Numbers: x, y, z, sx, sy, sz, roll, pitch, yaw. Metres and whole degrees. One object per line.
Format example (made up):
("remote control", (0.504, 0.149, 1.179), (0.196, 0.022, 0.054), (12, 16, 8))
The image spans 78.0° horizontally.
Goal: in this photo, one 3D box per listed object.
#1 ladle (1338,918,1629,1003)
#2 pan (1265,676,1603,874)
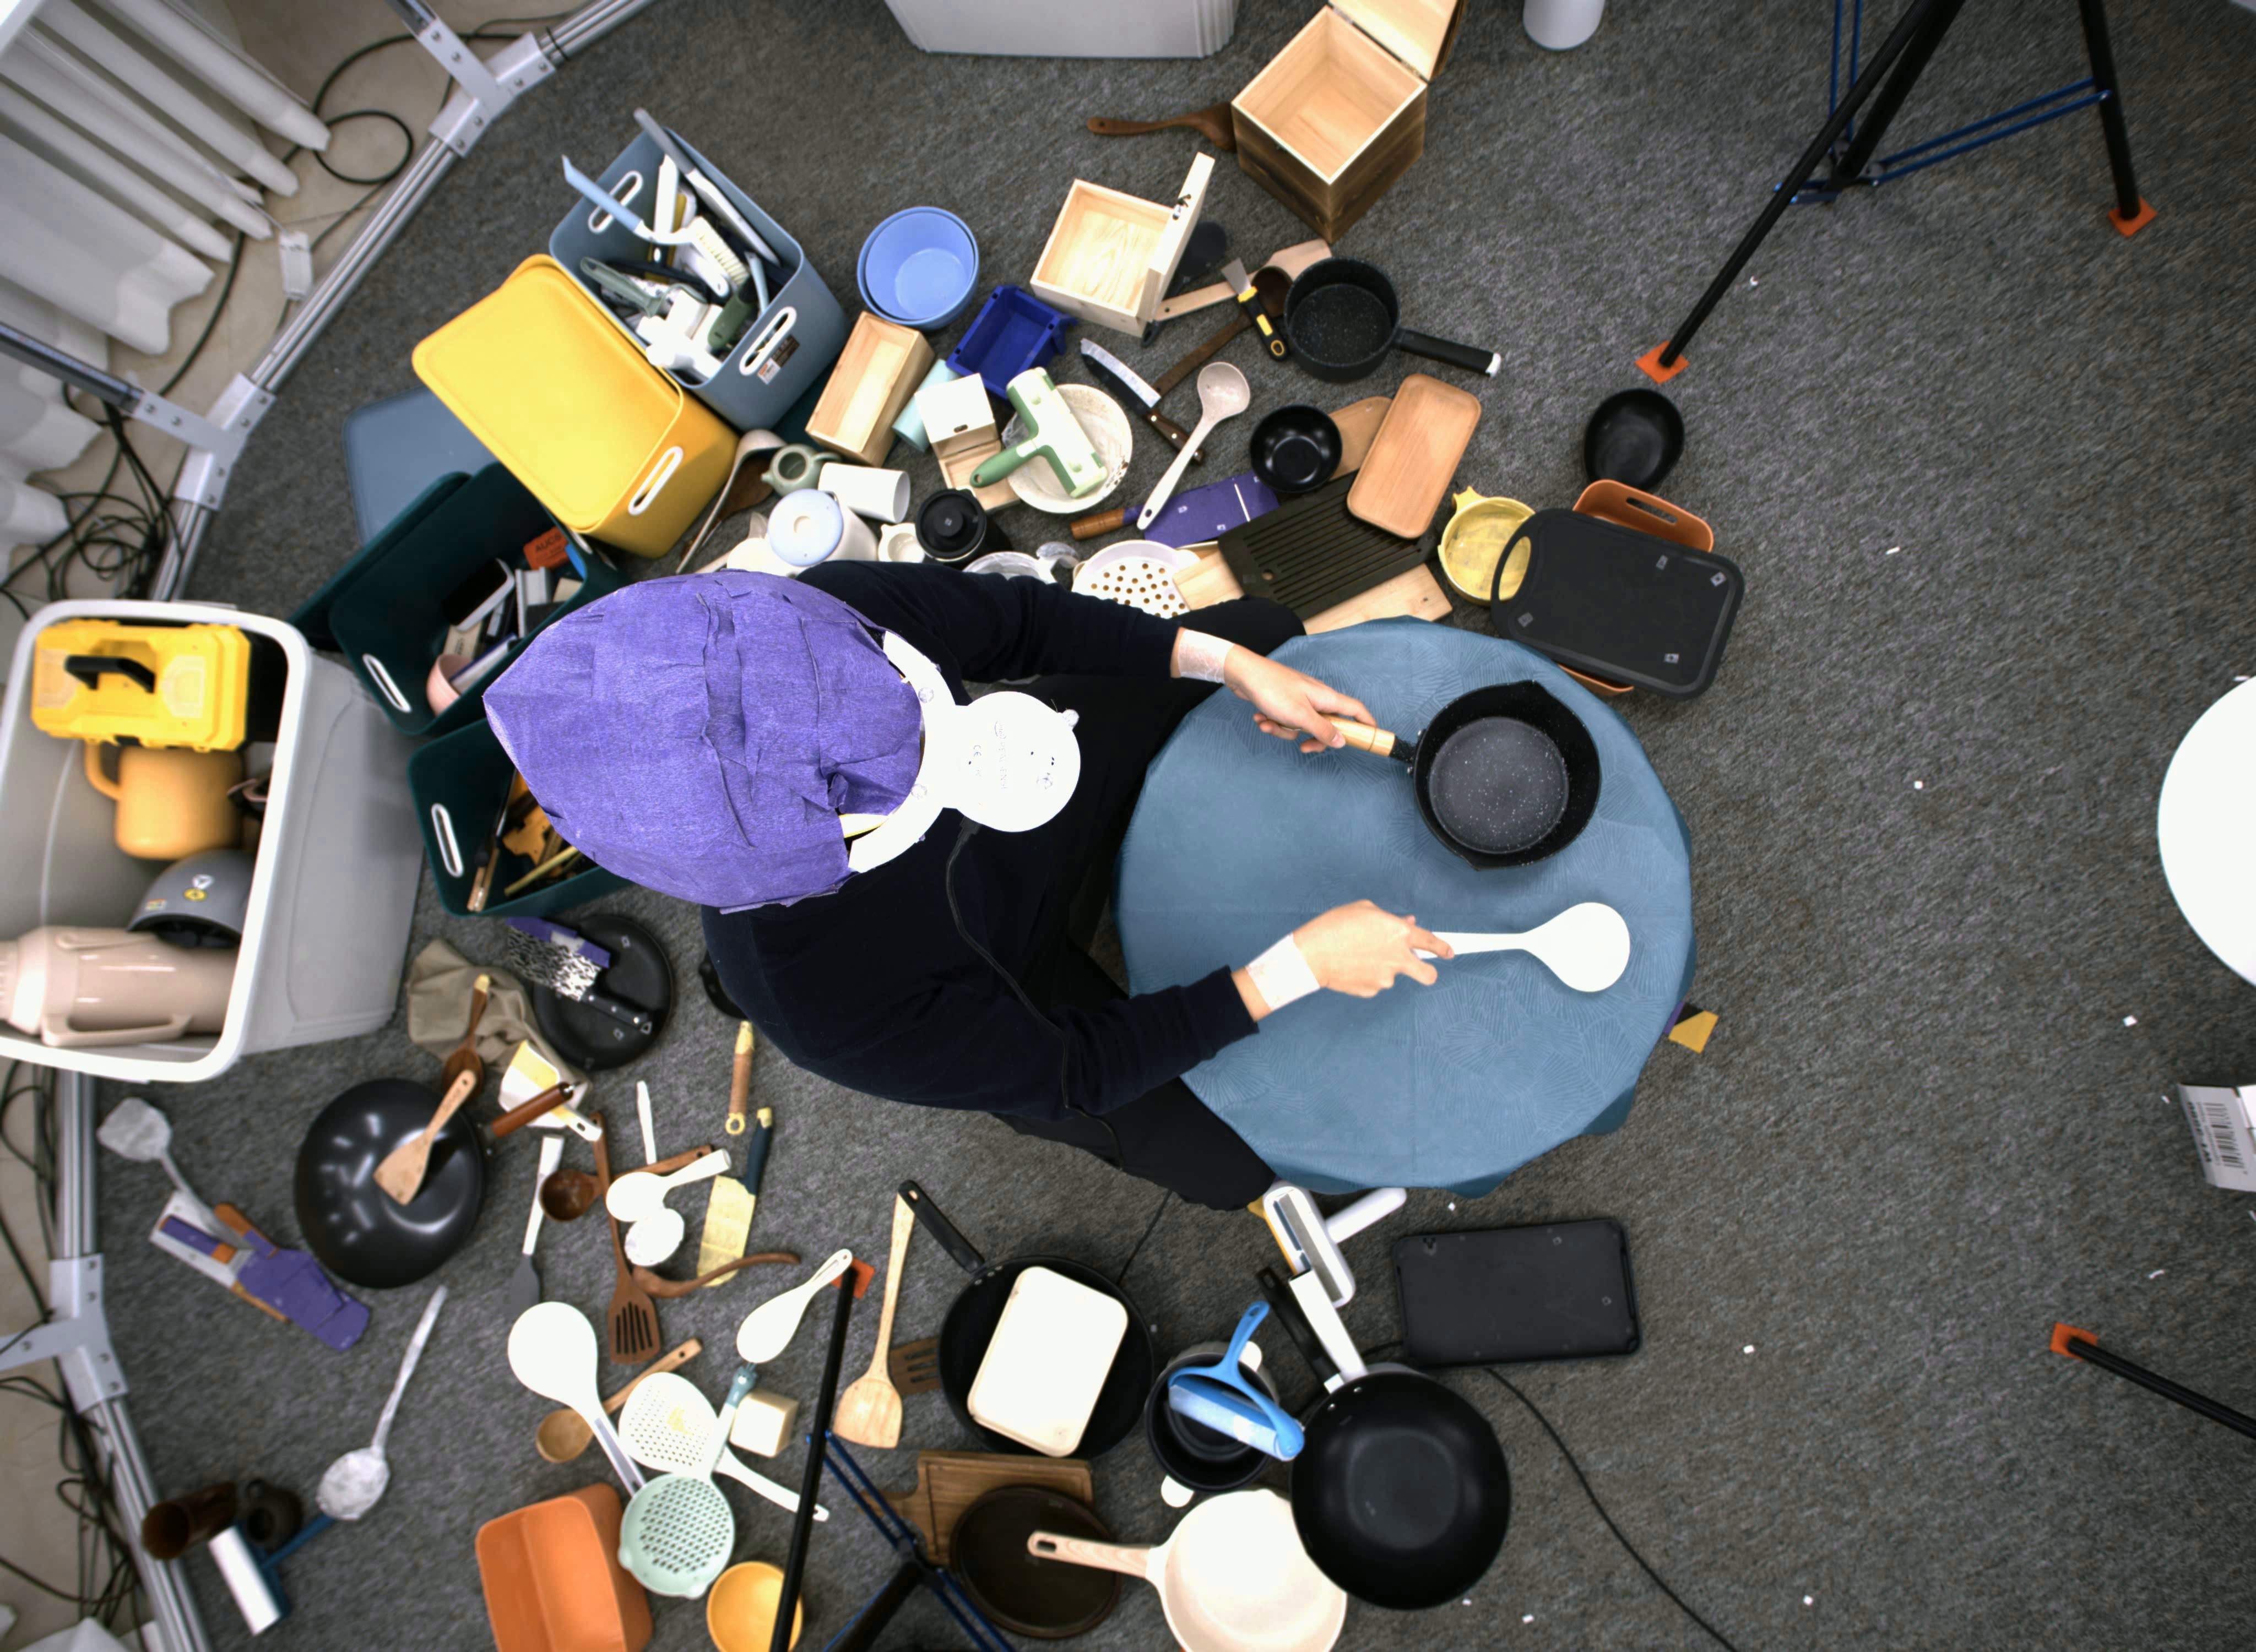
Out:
("ladle", (0.353, 0.126, 1.360), (0.292, 0.069, 0.091), (2, 105, -19))
("pan", (0.306, -0.069, 1.404), (0.343, 0.108, 0.207), (15, 90, 9))
